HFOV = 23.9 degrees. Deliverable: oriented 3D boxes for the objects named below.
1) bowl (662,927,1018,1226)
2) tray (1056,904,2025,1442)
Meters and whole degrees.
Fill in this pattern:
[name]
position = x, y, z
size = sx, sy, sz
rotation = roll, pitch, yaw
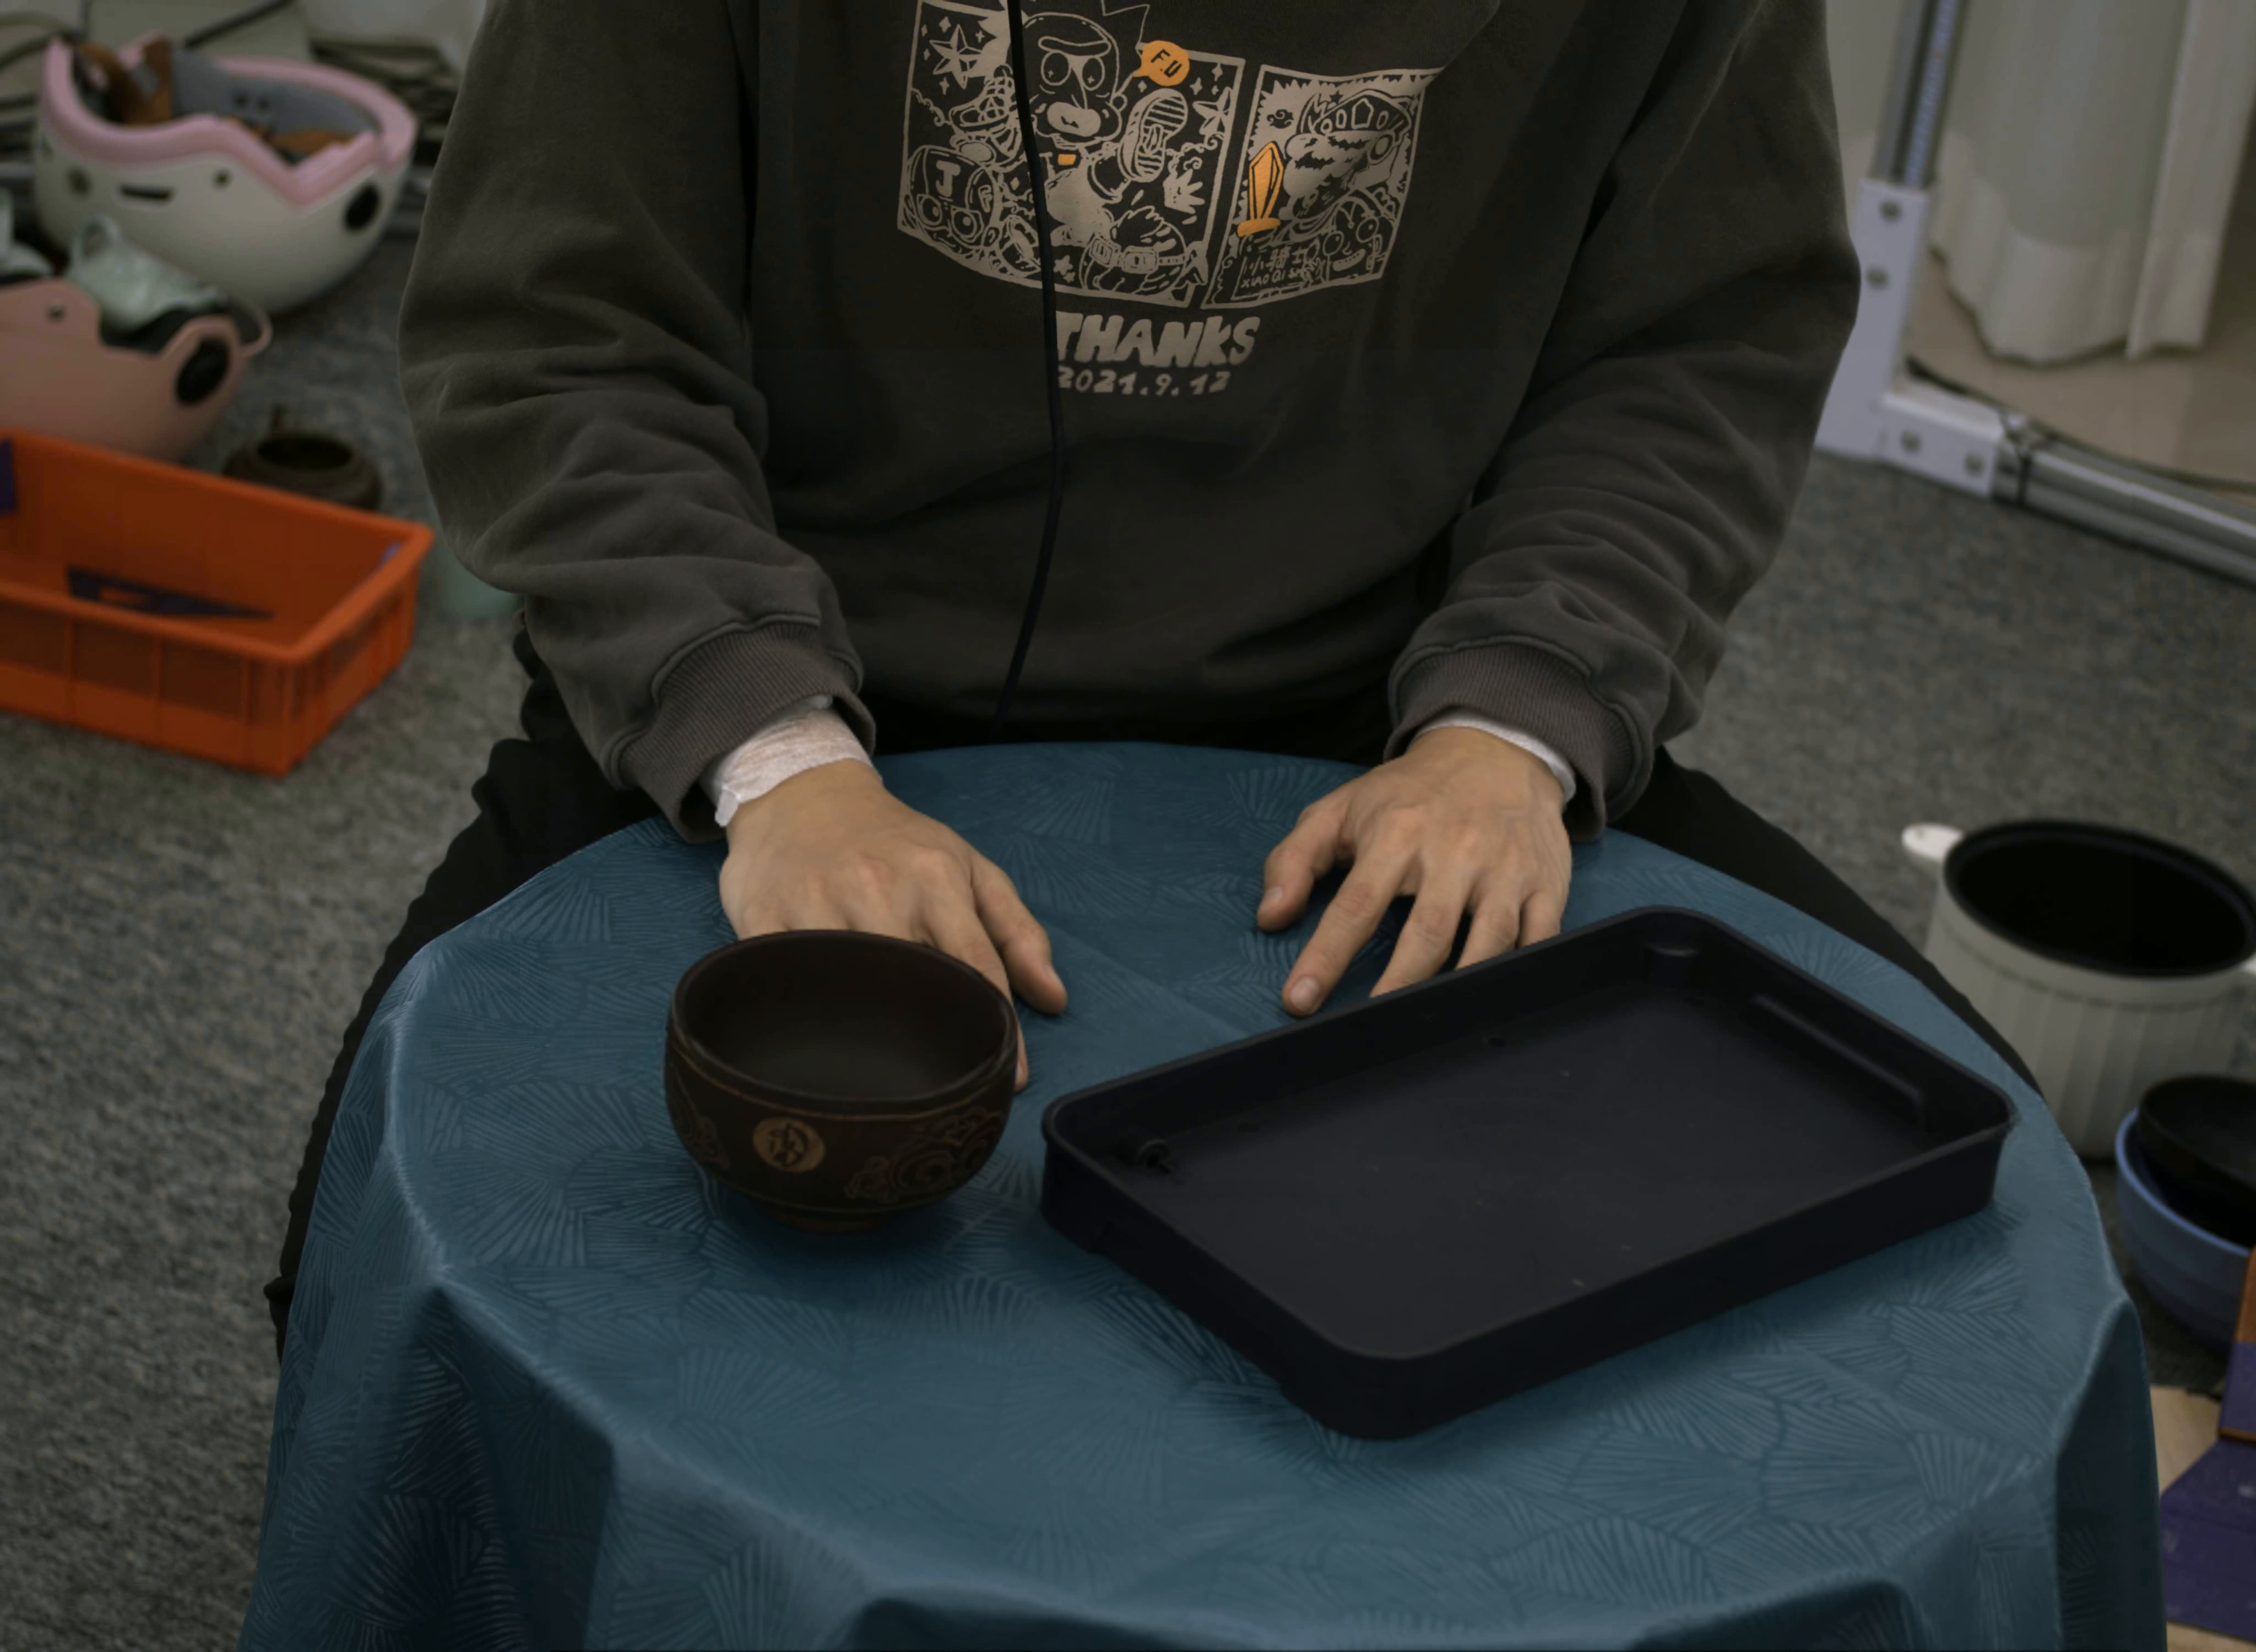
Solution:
[bowl]
position = -0.097, 0.090, 1.769
size = 0.117, 0.069, 0.119
rotation = 5, 25, -3
[tray]
position = 0.142, 0.112, 1.820
size = 0.316, 0.037, 0.186
rotation = -18, 34, -38
